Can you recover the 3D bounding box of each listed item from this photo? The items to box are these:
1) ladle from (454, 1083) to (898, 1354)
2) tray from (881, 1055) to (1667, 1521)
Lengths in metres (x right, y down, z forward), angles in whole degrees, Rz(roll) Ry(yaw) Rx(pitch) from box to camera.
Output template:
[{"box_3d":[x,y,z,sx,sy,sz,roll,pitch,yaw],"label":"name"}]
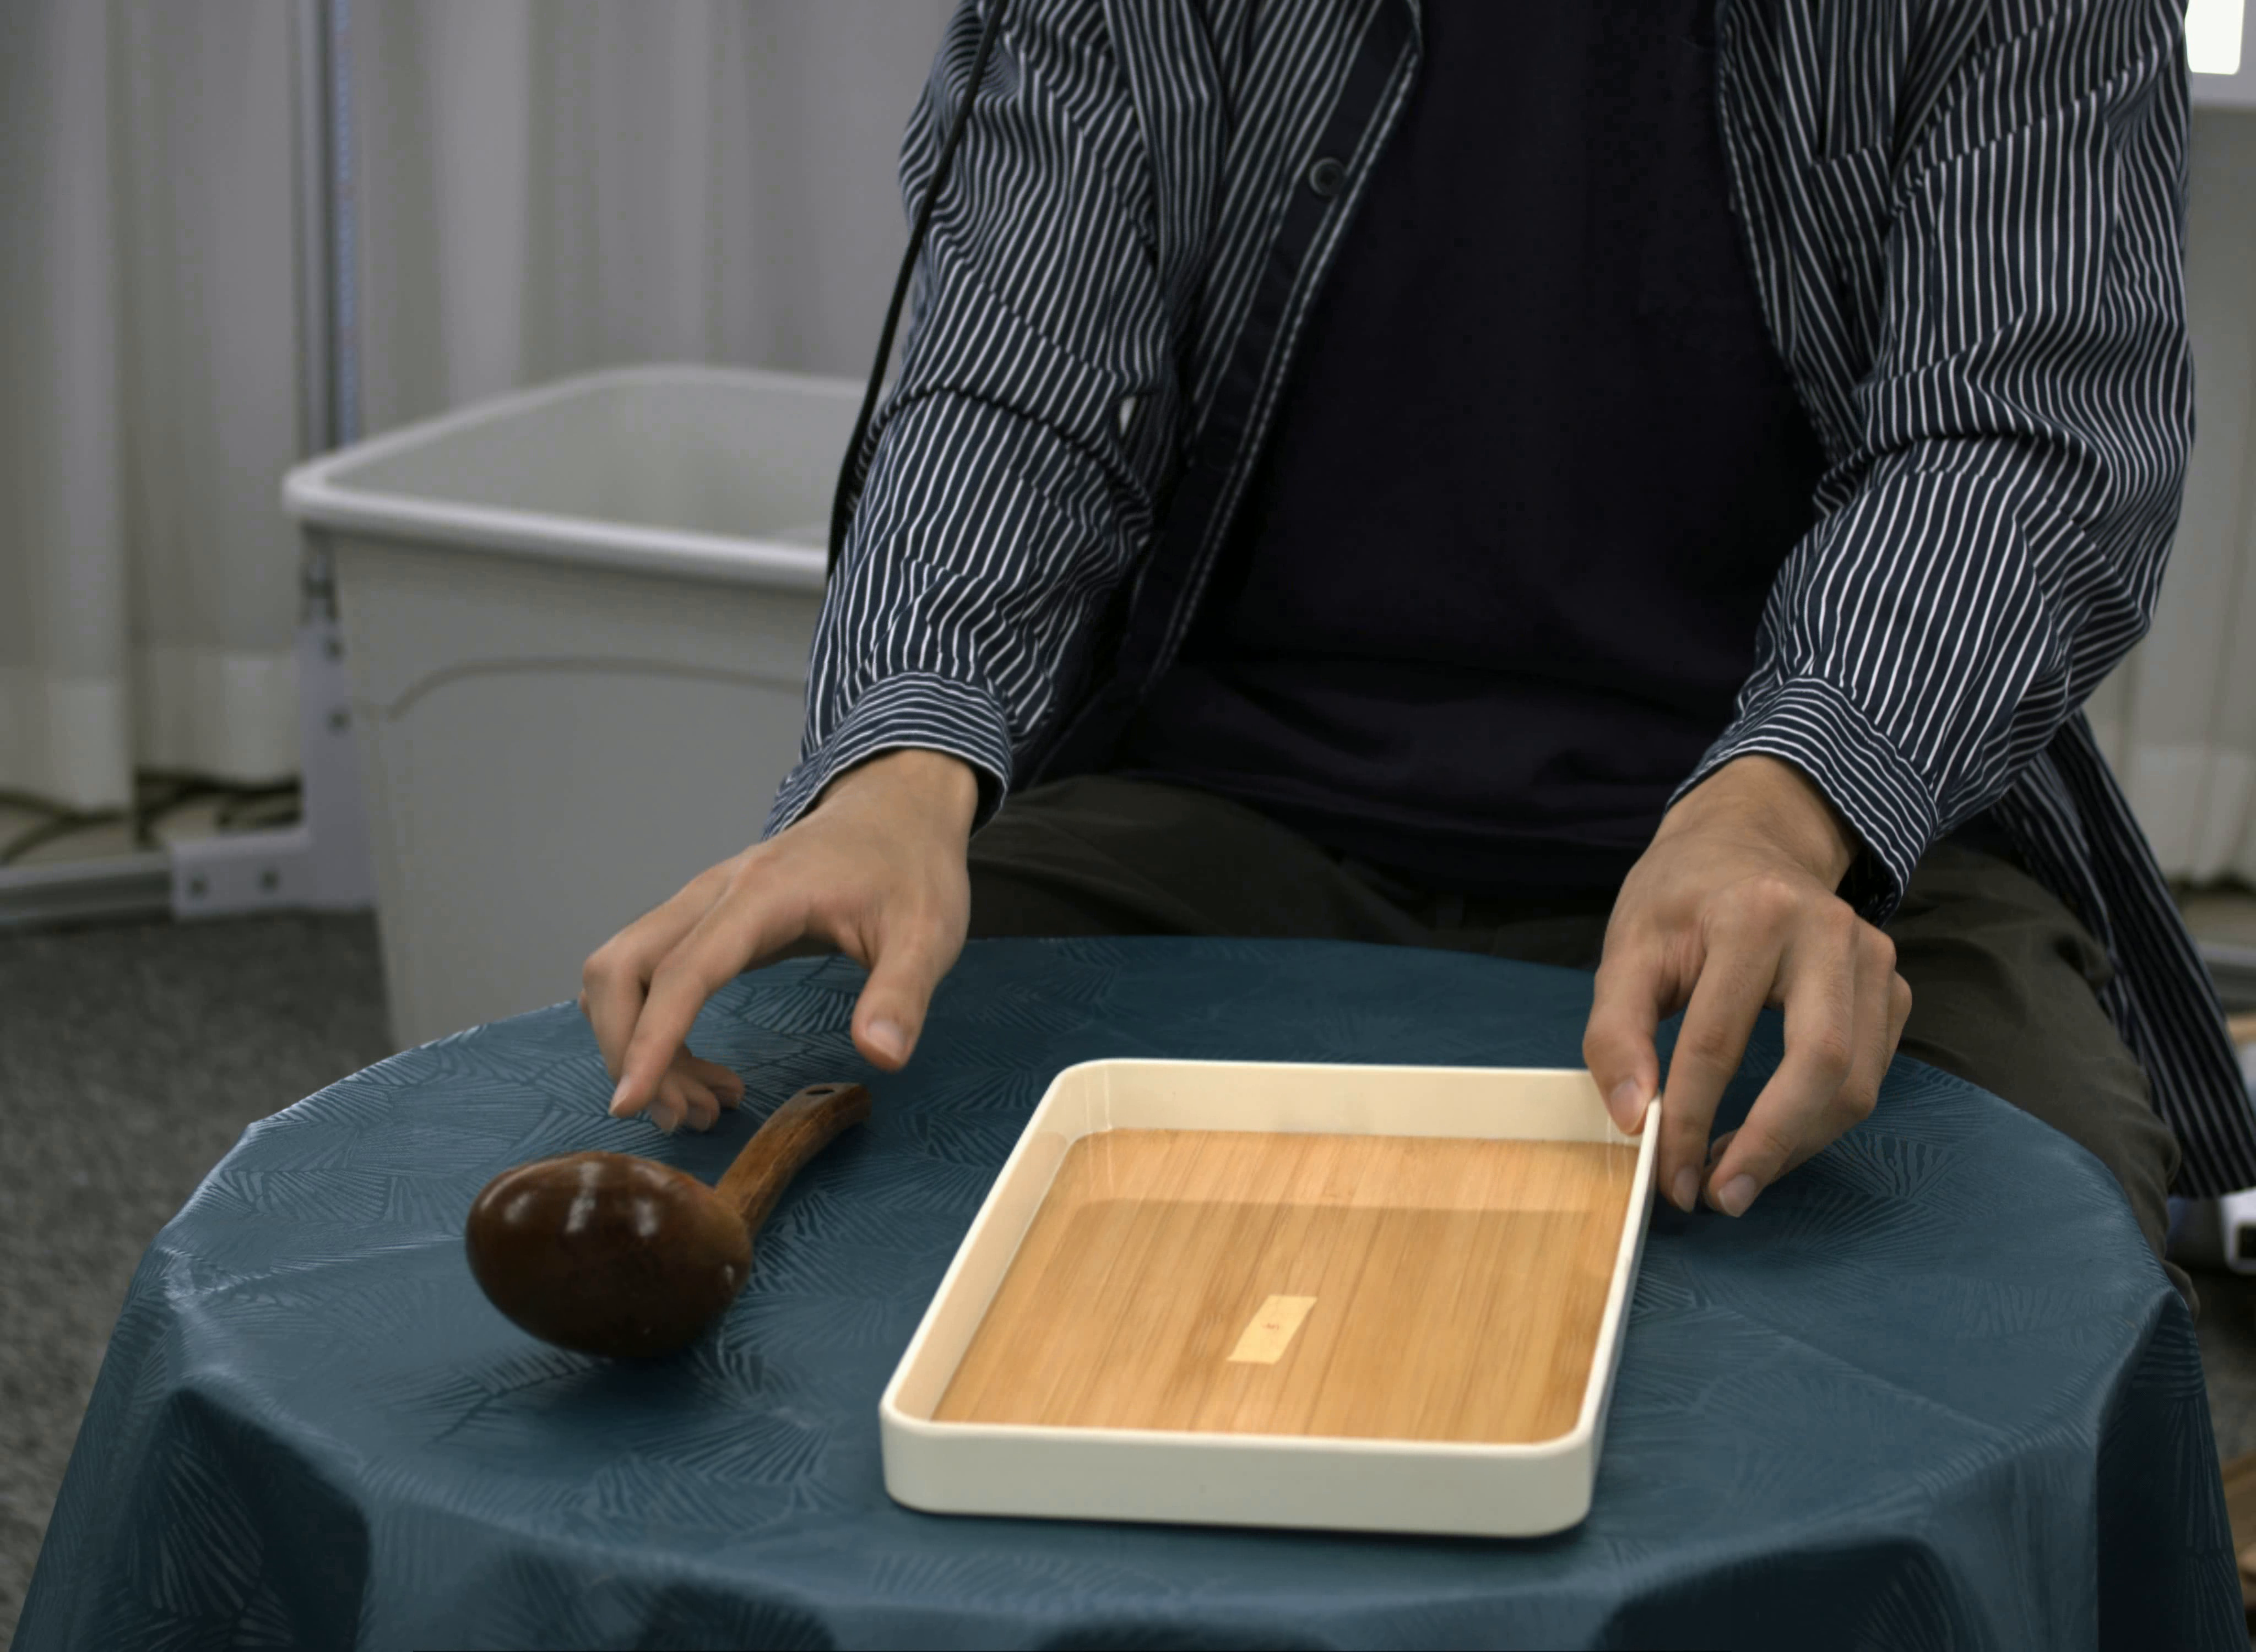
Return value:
[{"box_3d":[-0.122,0.091,1.558,0.081,0.077,0.274,0,15,14],"label":"ladle"},{"box_3d":[0.050,0.127,1.513,0.190,0.027,0.299,1,16,10],"label":"tray"}]
